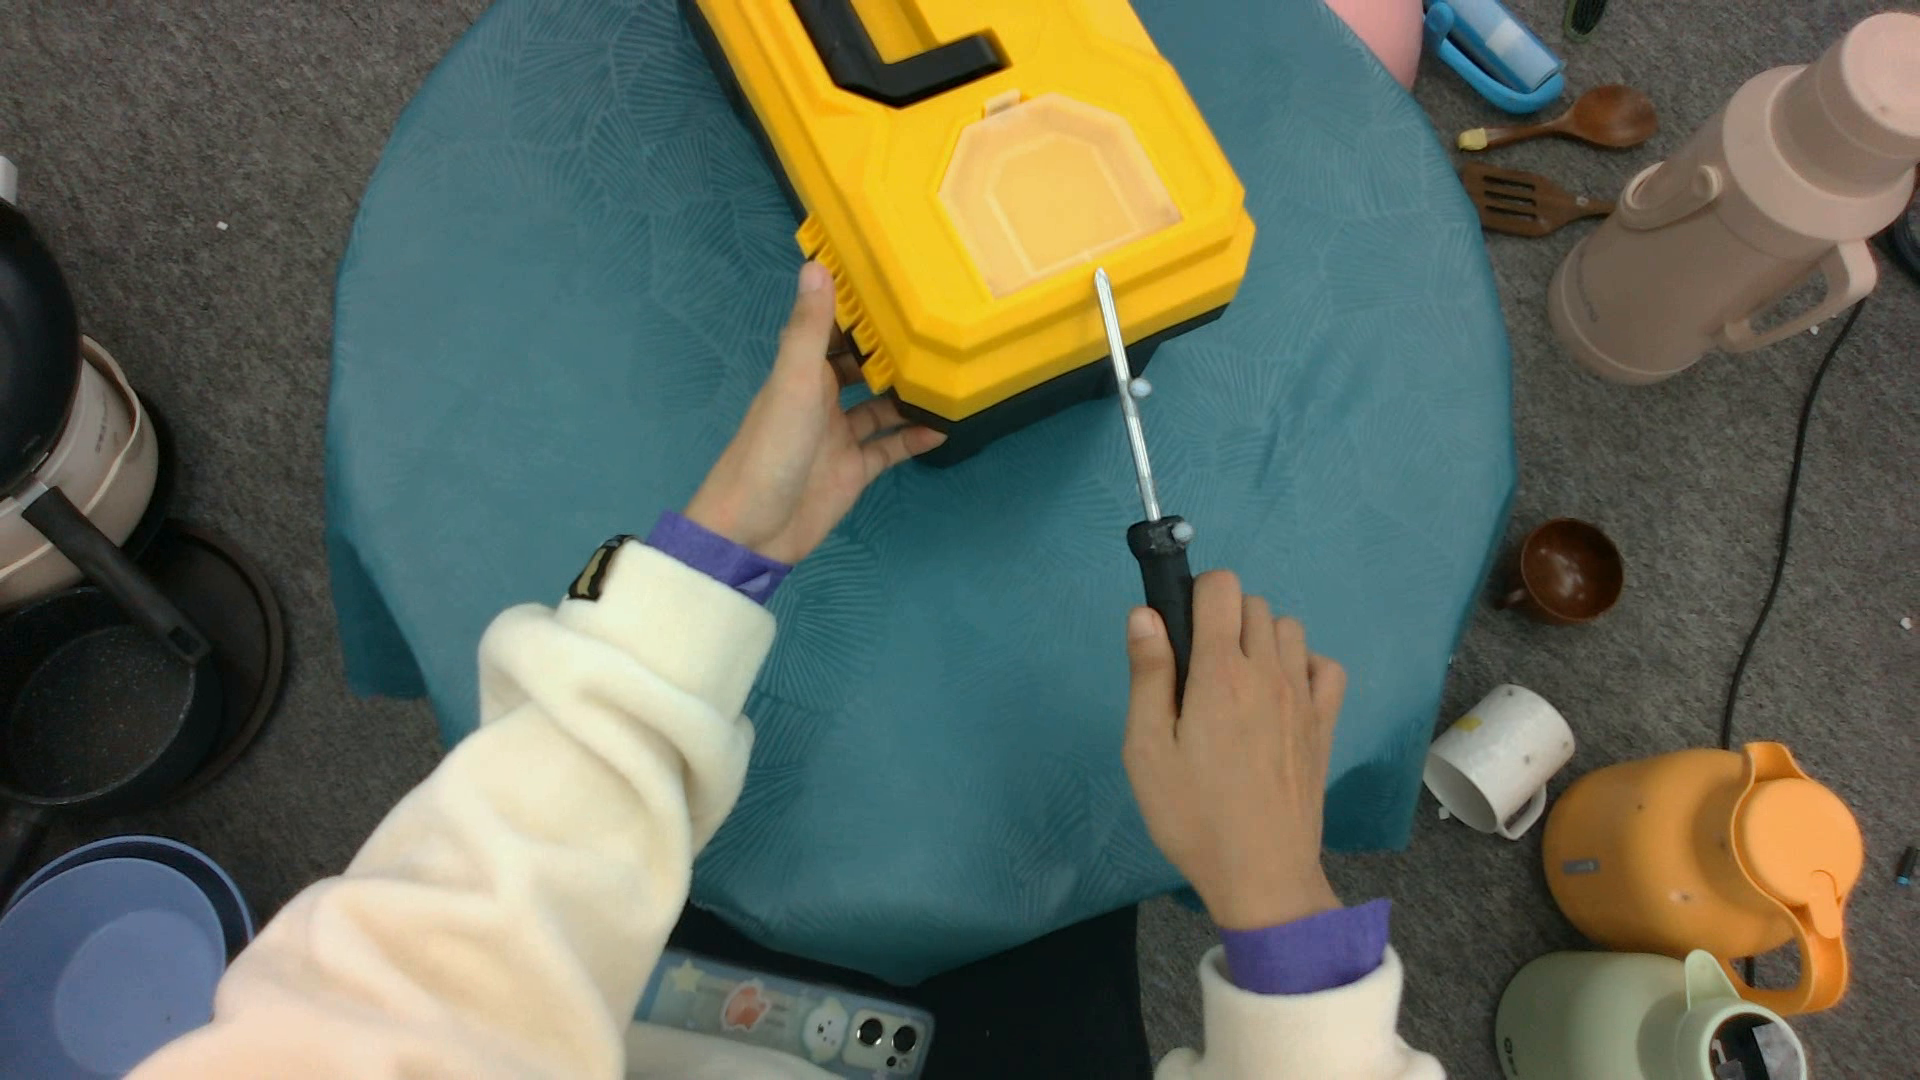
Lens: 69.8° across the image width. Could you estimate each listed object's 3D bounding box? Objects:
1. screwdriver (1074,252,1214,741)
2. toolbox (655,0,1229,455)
[{"bbox_3d":[0.072,-0.017,0.539,0.031,0.031,0.196,-11,96,-9],"label":"screwdriver"},{"bbox_3d":[-0.035,-0.224,0.645,0.181,0.172,0.352,-25,78,-12],"label":"toolbox"}]
